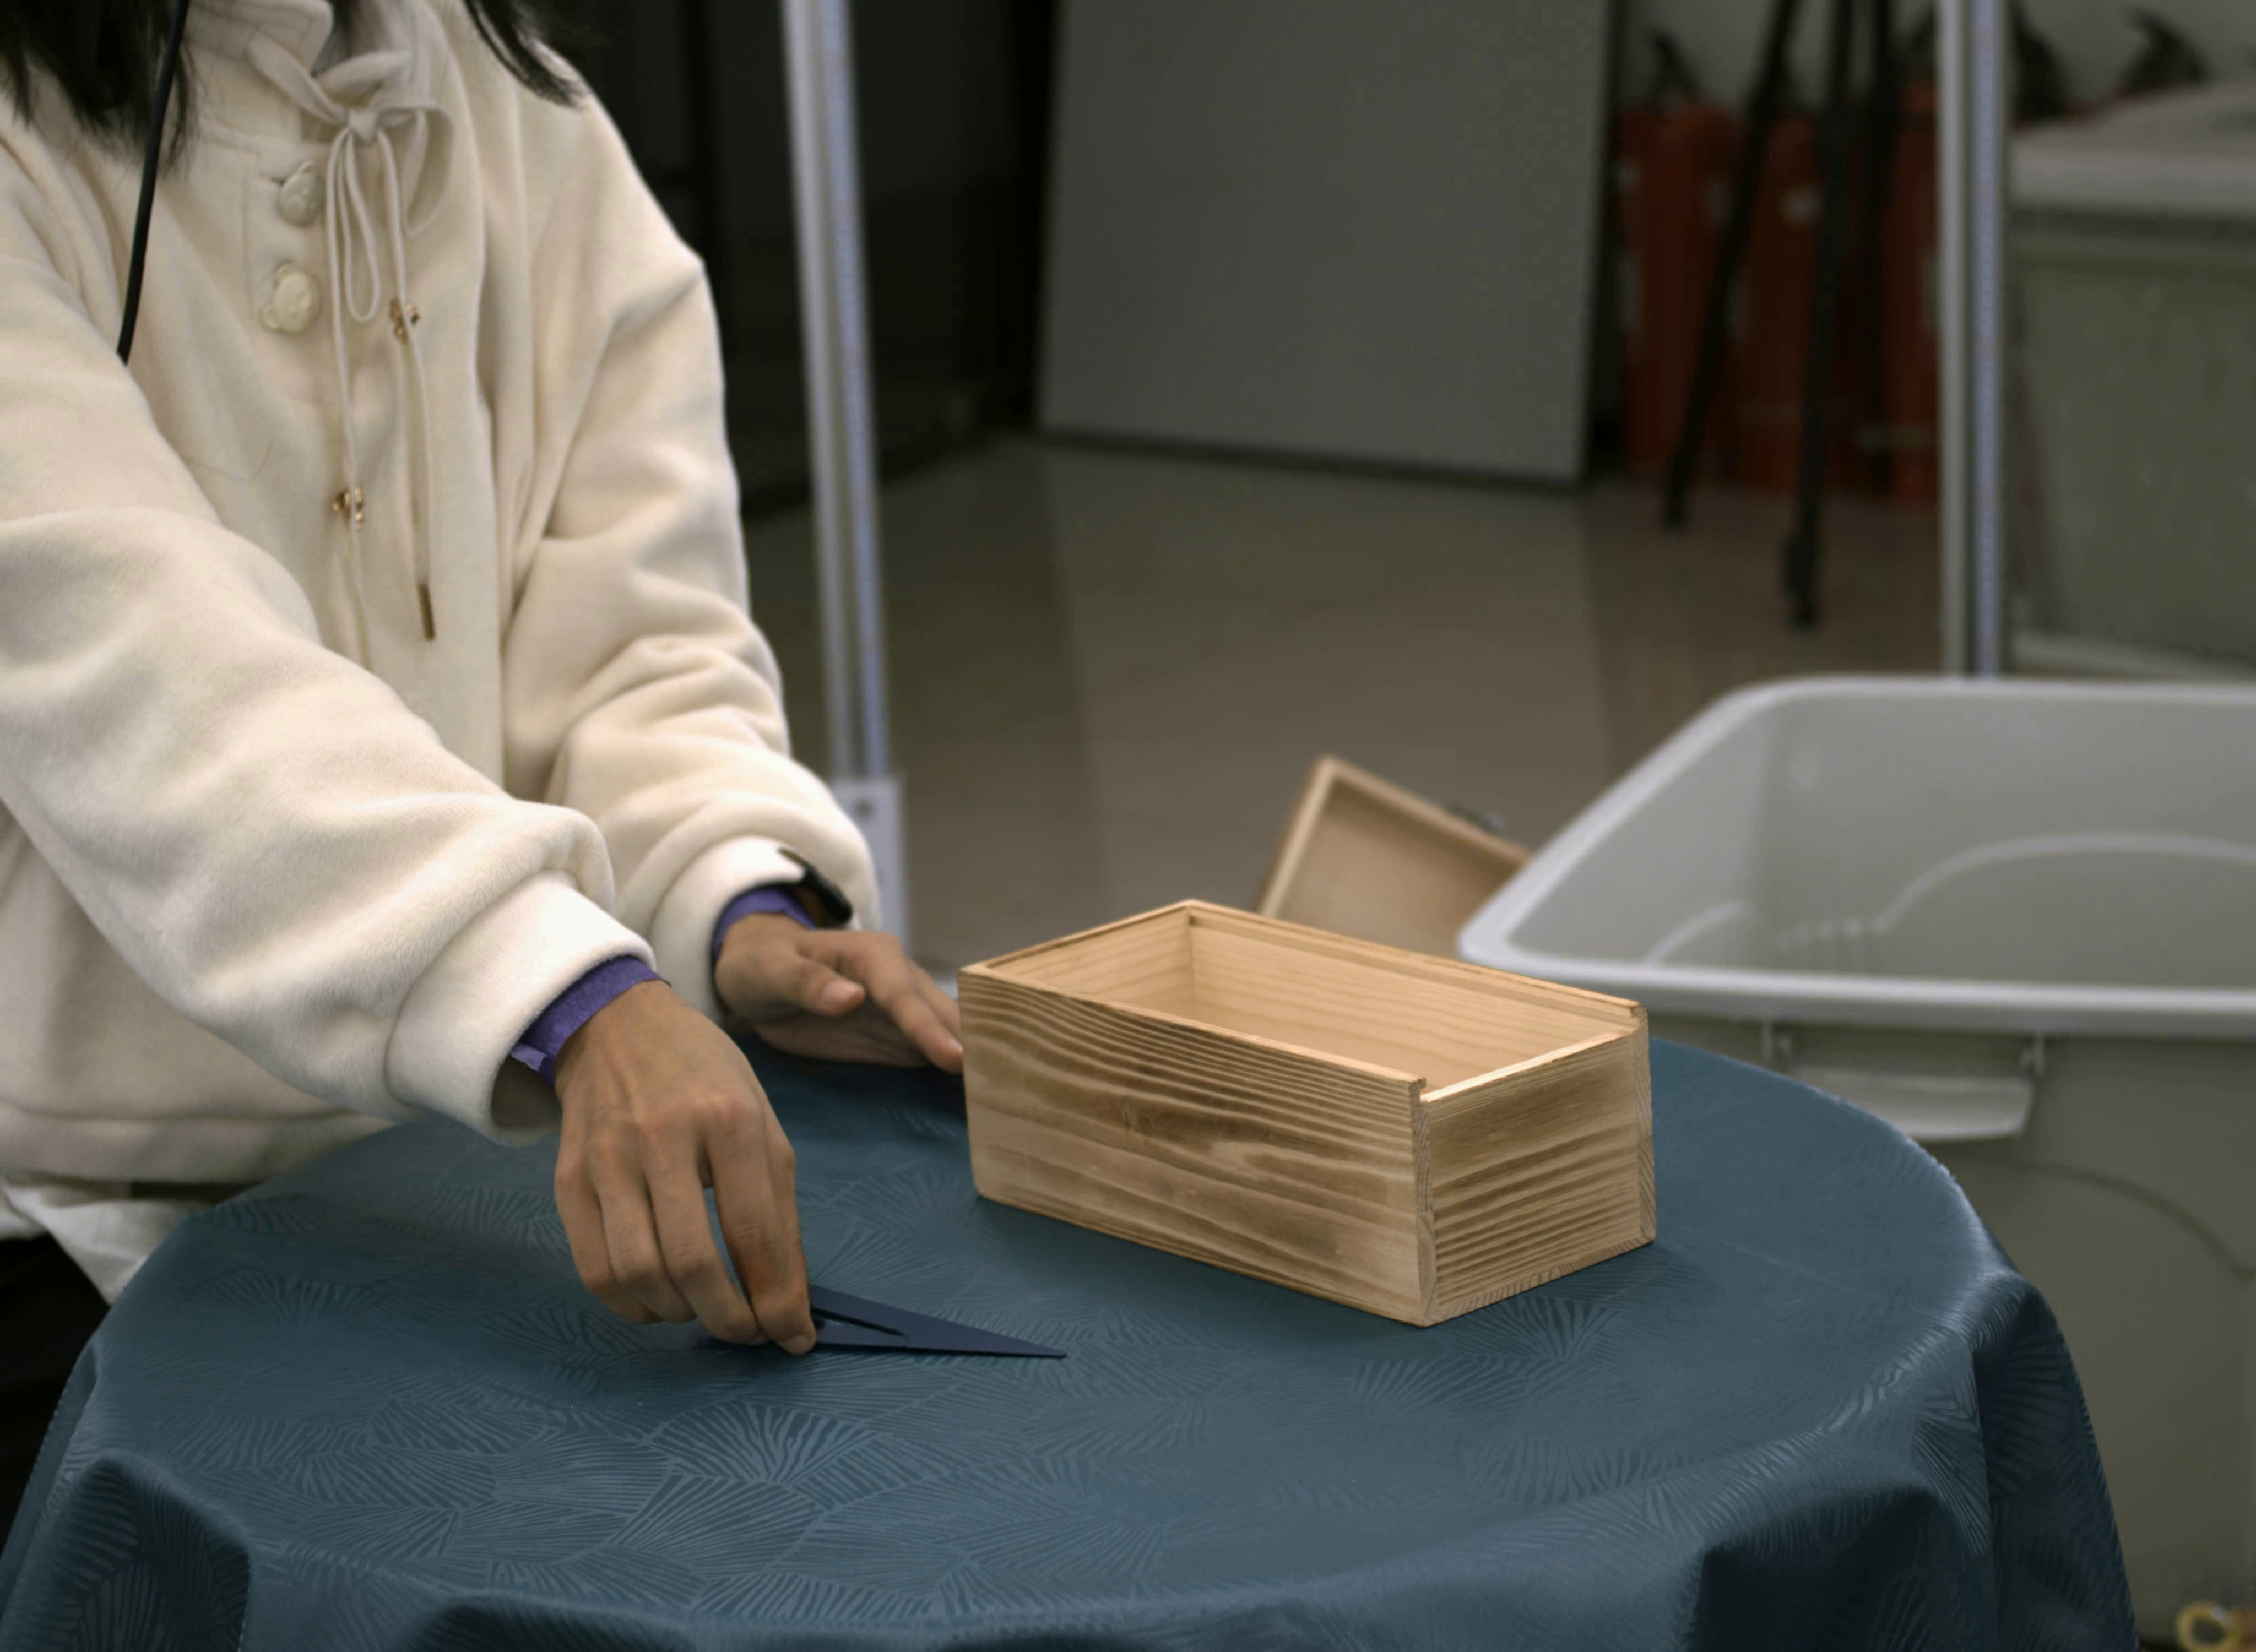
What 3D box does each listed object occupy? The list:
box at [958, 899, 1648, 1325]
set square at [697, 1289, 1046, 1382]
[{"bbox_3d":[0.054,0.088,1.721,0.105,0.081,0.213,-14,17,-40],"label":"box"},{"bbox_3d":[-0.085,0.157,1.634,0.060,0.006,0.133,-9,14,-40],"label":"set square"}]
